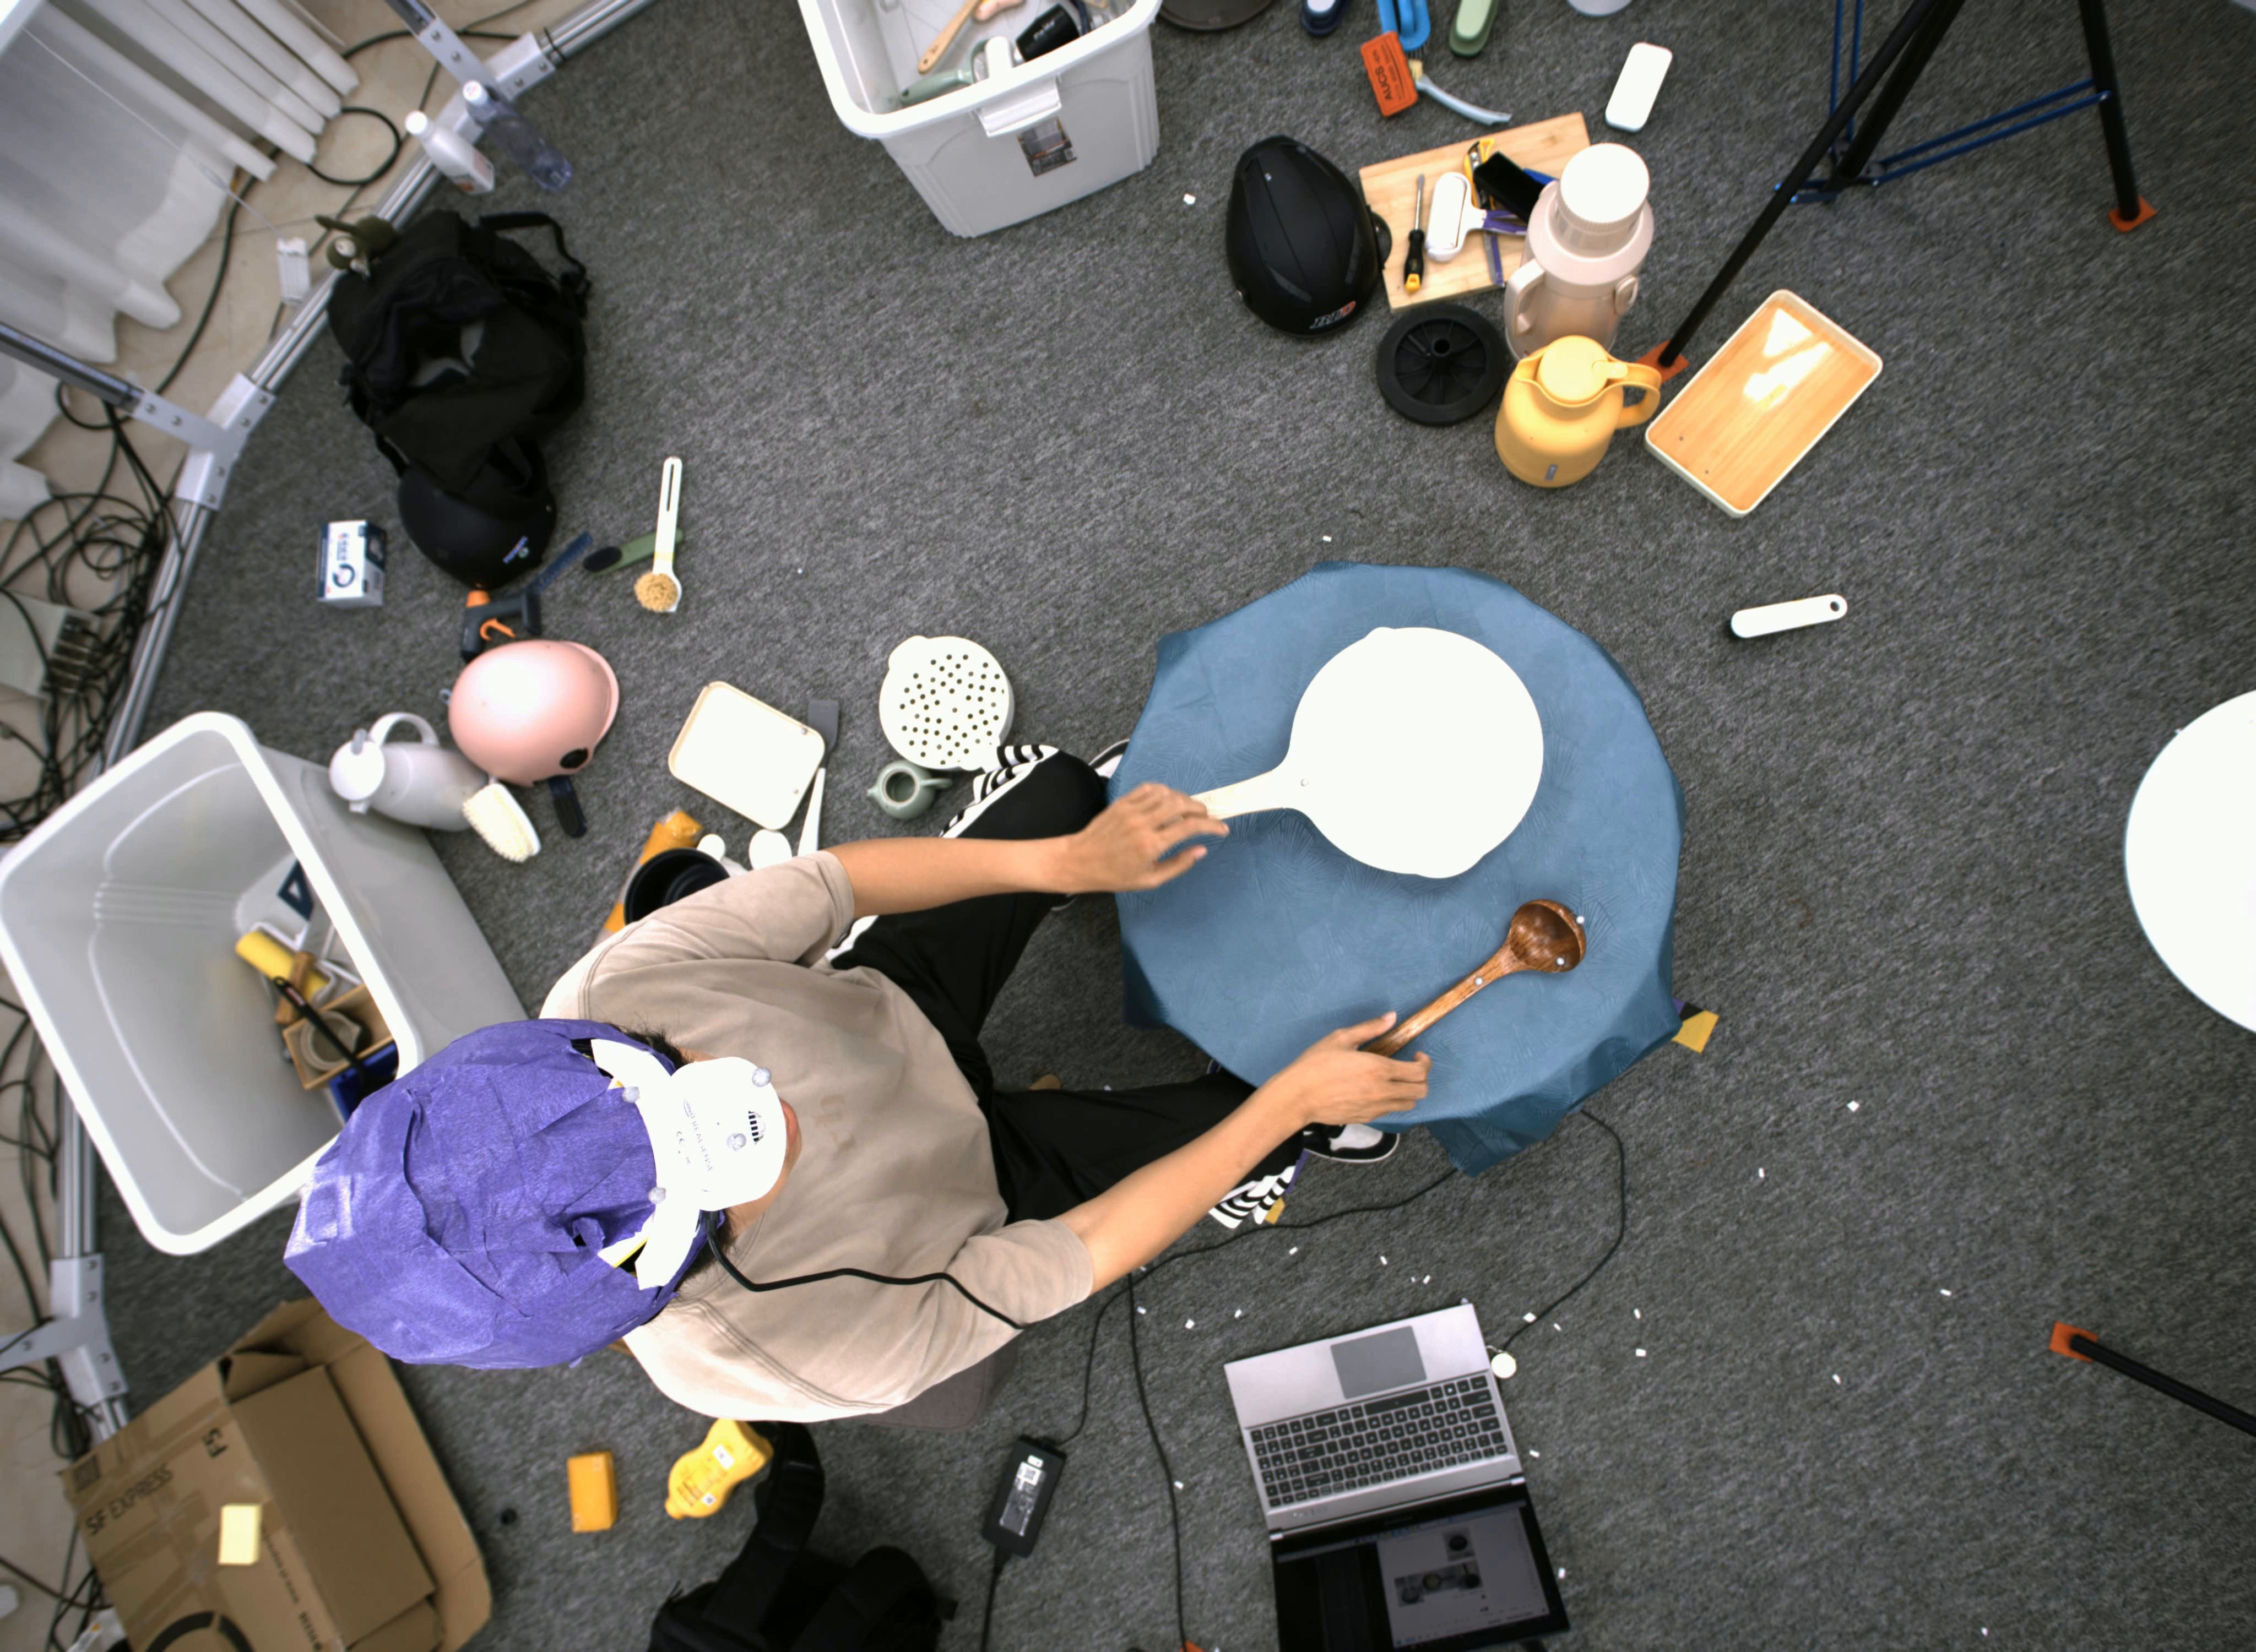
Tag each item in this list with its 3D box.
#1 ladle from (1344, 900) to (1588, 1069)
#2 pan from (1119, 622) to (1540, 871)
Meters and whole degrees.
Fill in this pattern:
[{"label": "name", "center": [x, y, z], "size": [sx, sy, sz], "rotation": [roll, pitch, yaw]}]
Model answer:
[{"label": "ladle", "center": [0.341, 0.169, 1.402], "size": [0.275, 0.076, 0.081], "rotation": [-34, 82, 6]}, {"label": "pan", "center": [0.205, -0.054, 1.431], "size": [0.437, 0.102, 0.262], "rotation": [-17, 85, 9]}]
